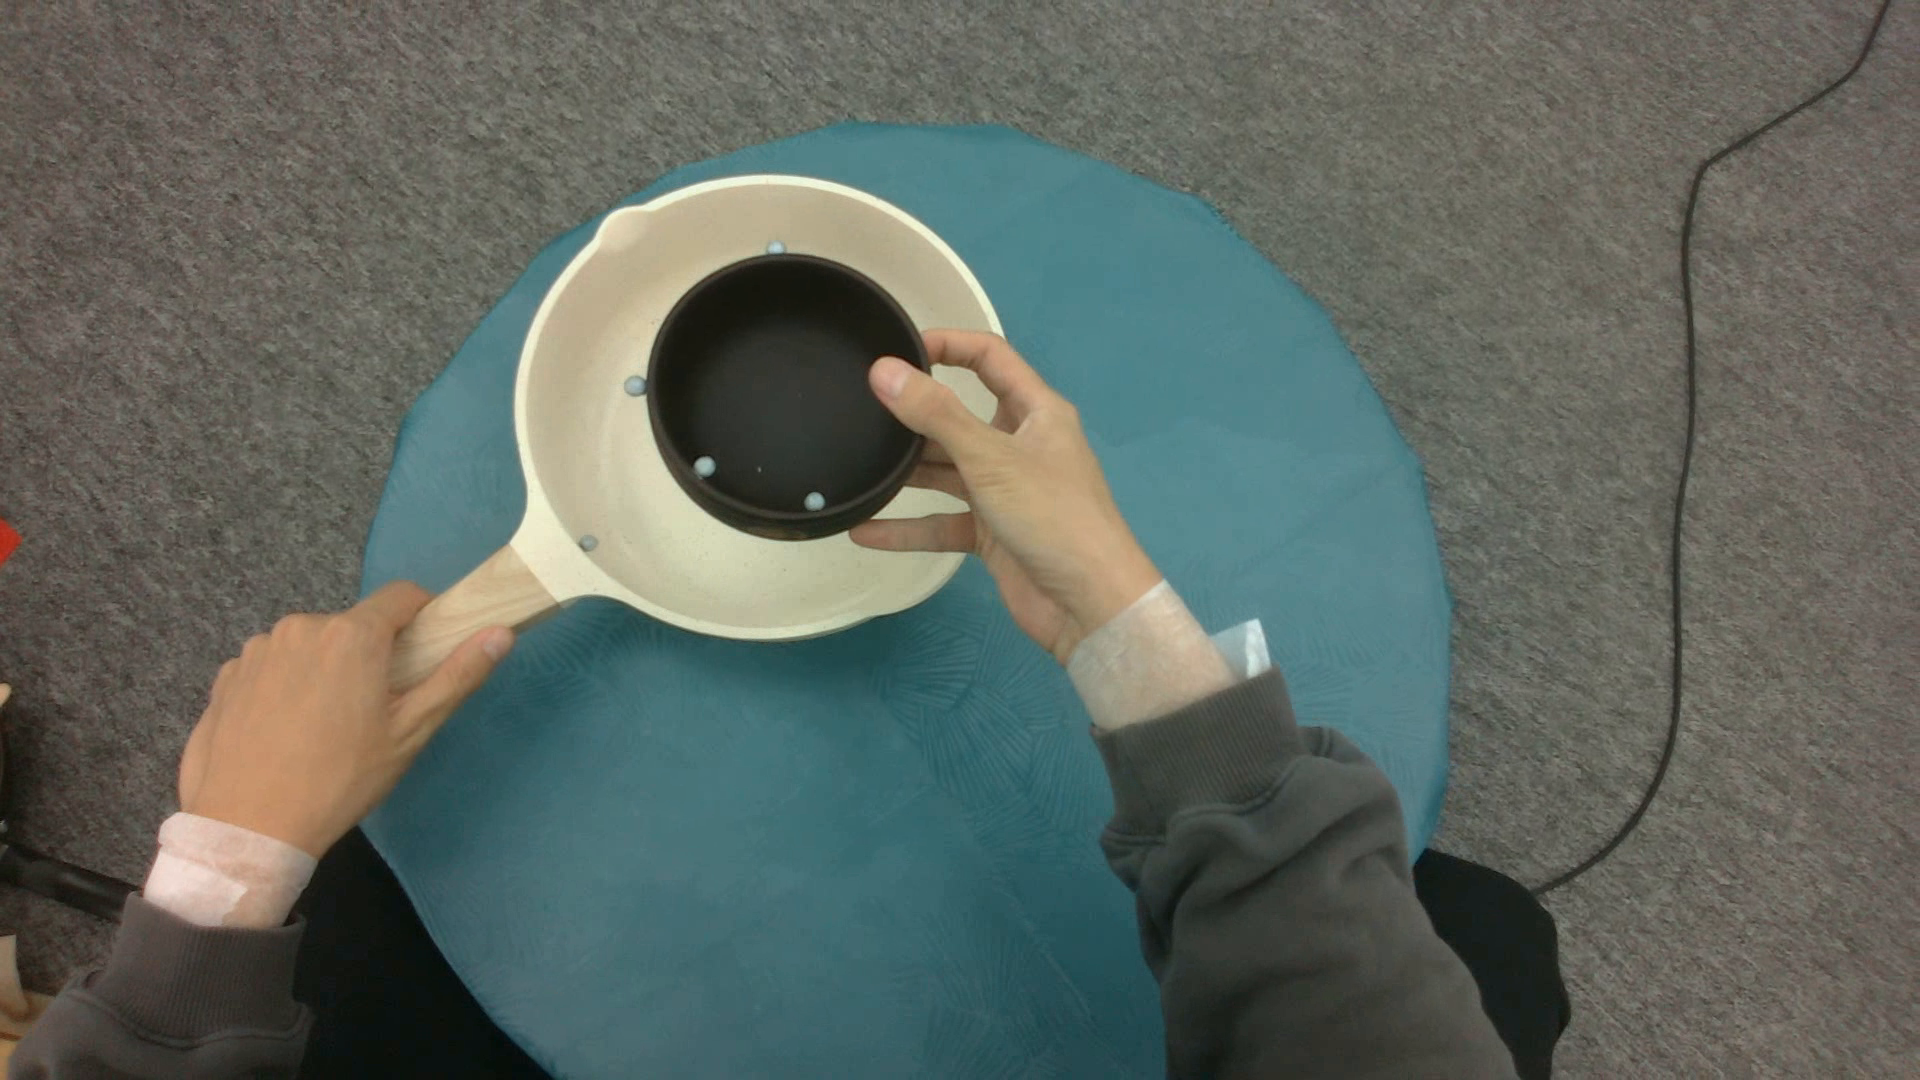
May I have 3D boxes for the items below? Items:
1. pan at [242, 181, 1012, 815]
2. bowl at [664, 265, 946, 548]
[{"bbox_3d":[-0.169,-0.007,0.725,0.436,0.101,0.263,-40,81,-12],"label":"pan"},{"bbox_3d":[-0.067,-0.052,0.596,0.118,0.069,0.118,2,75,-9],"label":"bowl"}]
